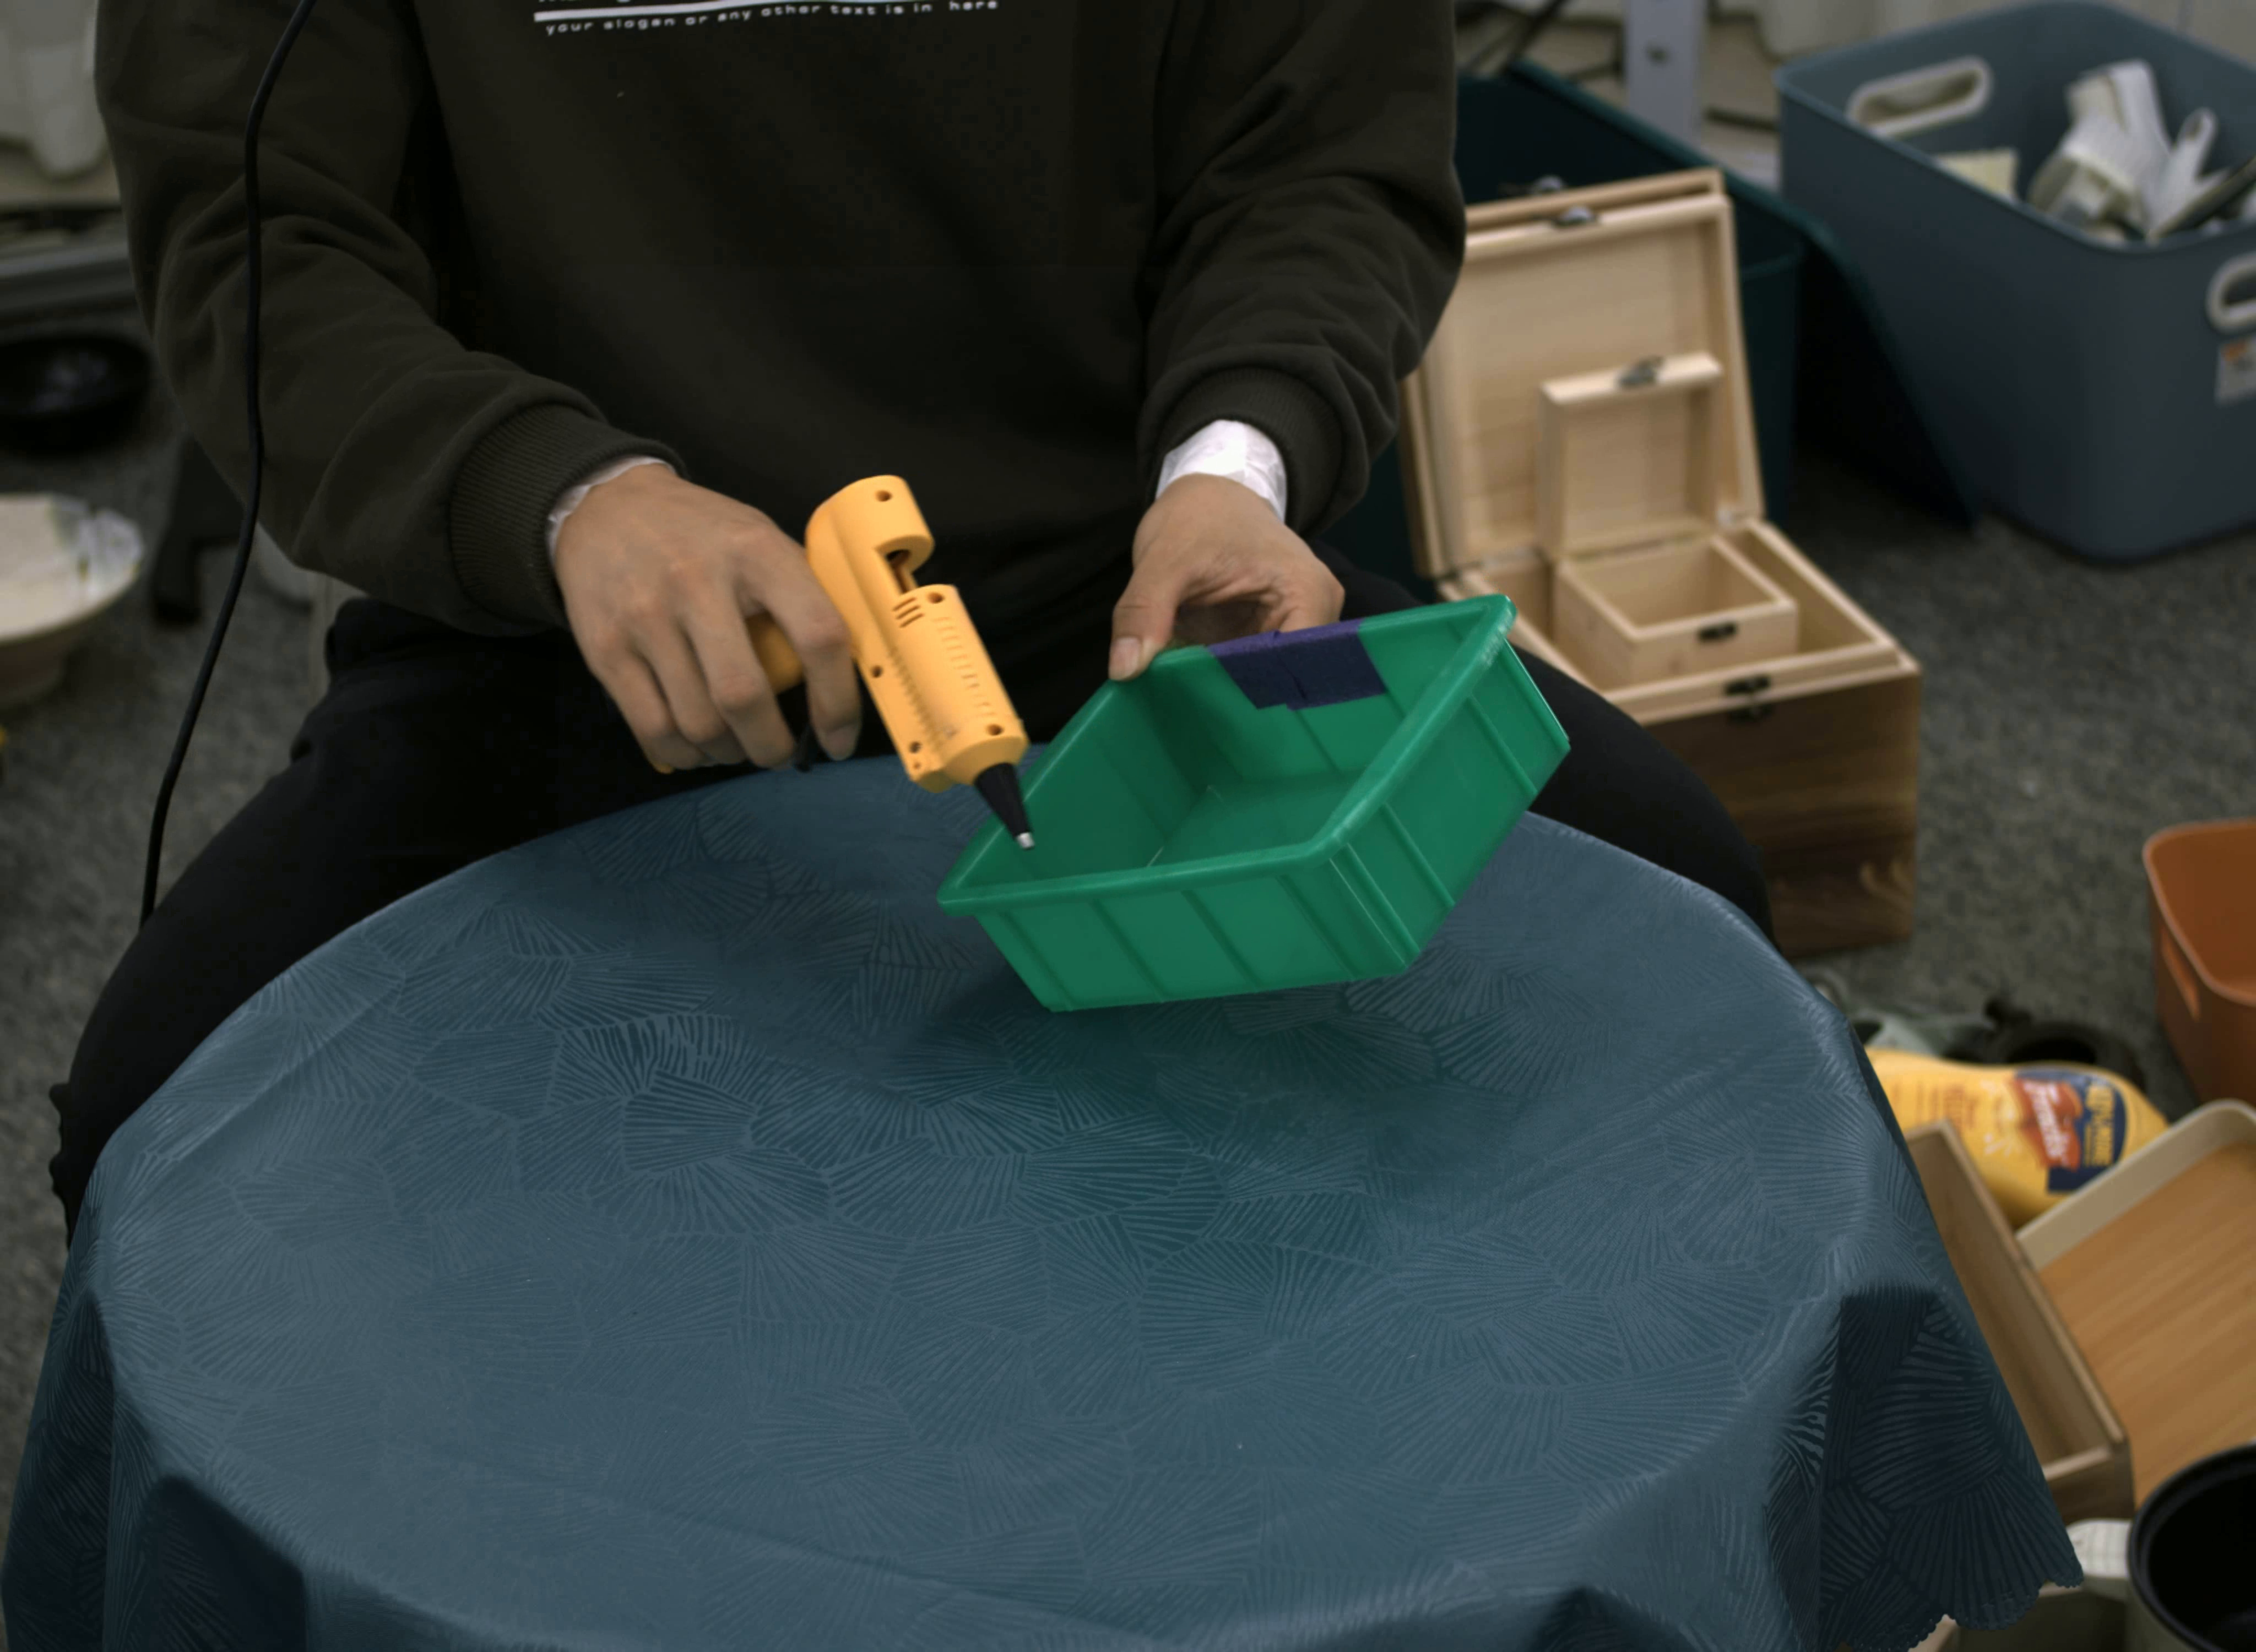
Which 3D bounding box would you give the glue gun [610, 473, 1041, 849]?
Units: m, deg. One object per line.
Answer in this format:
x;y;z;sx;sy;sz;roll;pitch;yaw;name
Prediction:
-0.096;-0.029;1.940;0.132;0.031;0.153;-36;64;9;glue gun

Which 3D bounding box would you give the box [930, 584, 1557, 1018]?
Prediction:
0.043;-0.004;1.937;0.208;0.065;0.141;-13;29;47;box
